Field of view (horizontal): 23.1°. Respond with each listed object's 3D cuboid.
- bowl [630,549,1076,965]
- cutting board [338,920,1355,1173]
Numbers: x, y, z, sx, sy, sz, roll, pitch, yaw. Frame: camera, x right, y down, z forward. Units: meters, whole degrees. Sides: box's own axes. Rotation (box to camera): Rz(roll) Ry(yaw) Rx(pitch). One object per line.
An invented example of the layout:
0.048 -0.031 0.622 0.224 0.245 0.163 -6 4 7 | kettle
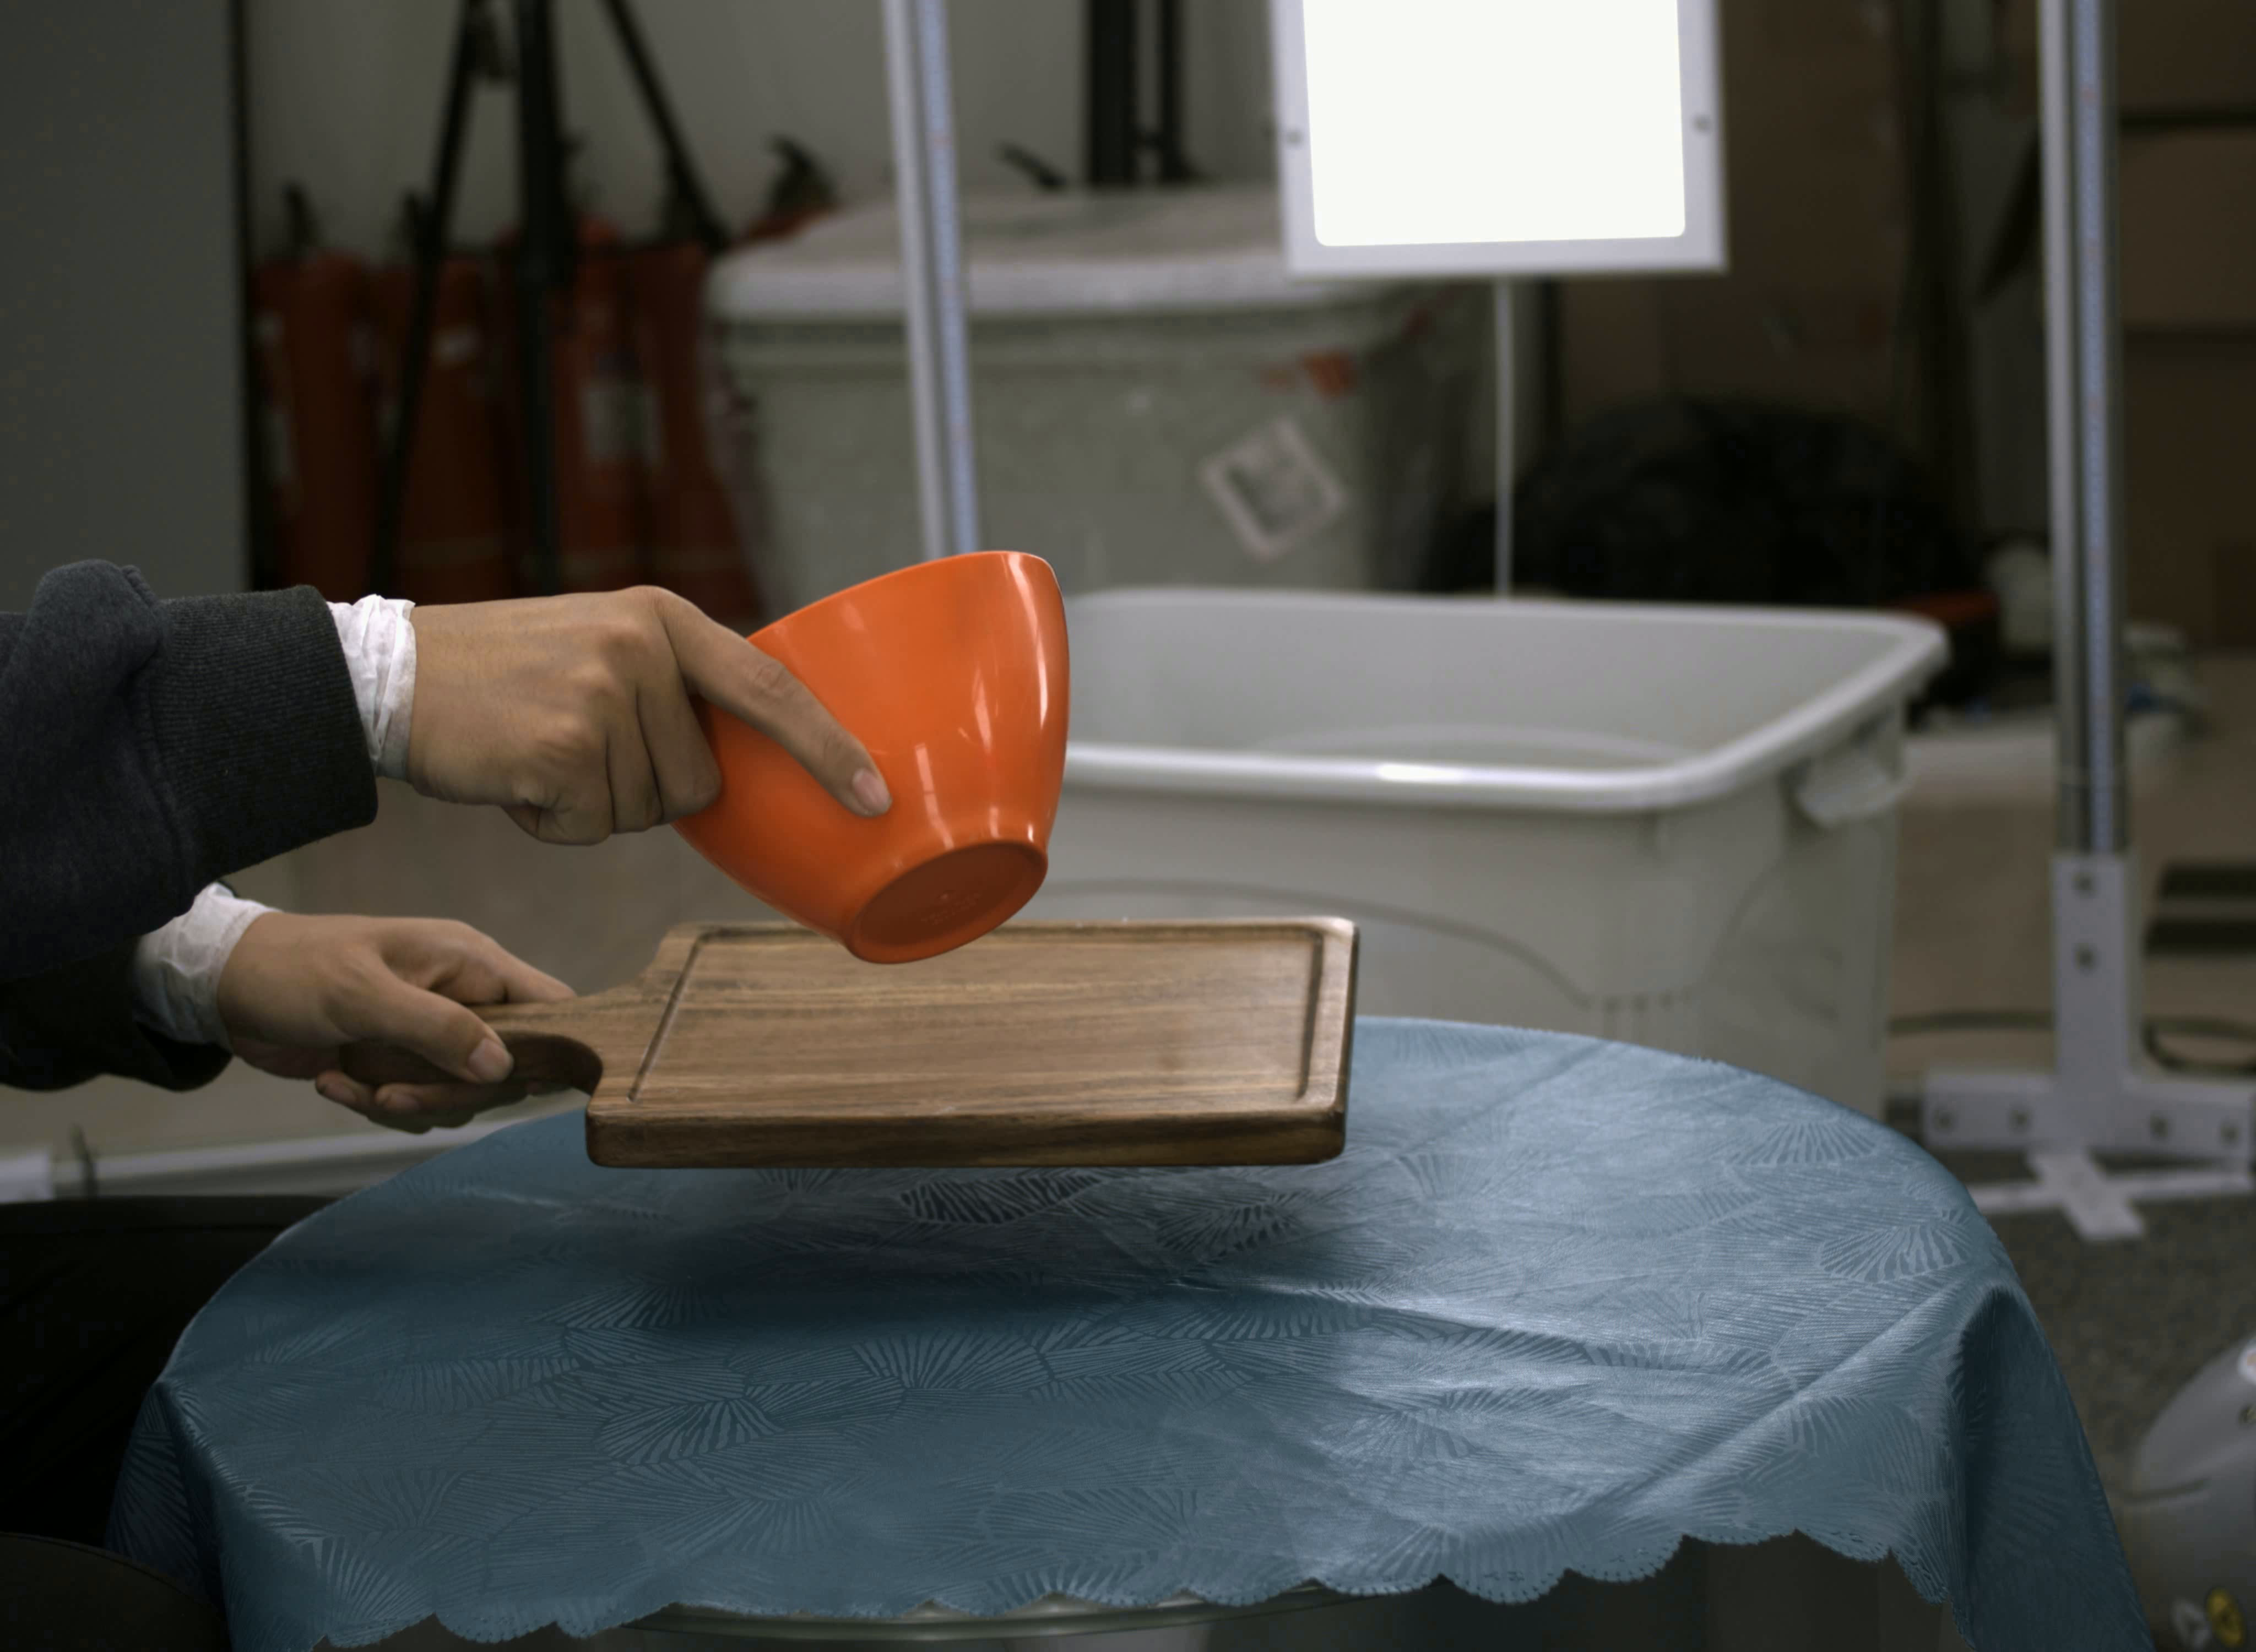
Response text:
-0.071 -0.014 1.691 0.146 0.105 0.149 -19 -25 -11 | bowl
-0.097 0.074 1.892 0.353 0.023 0.199 -1 18 6 | cutting board
